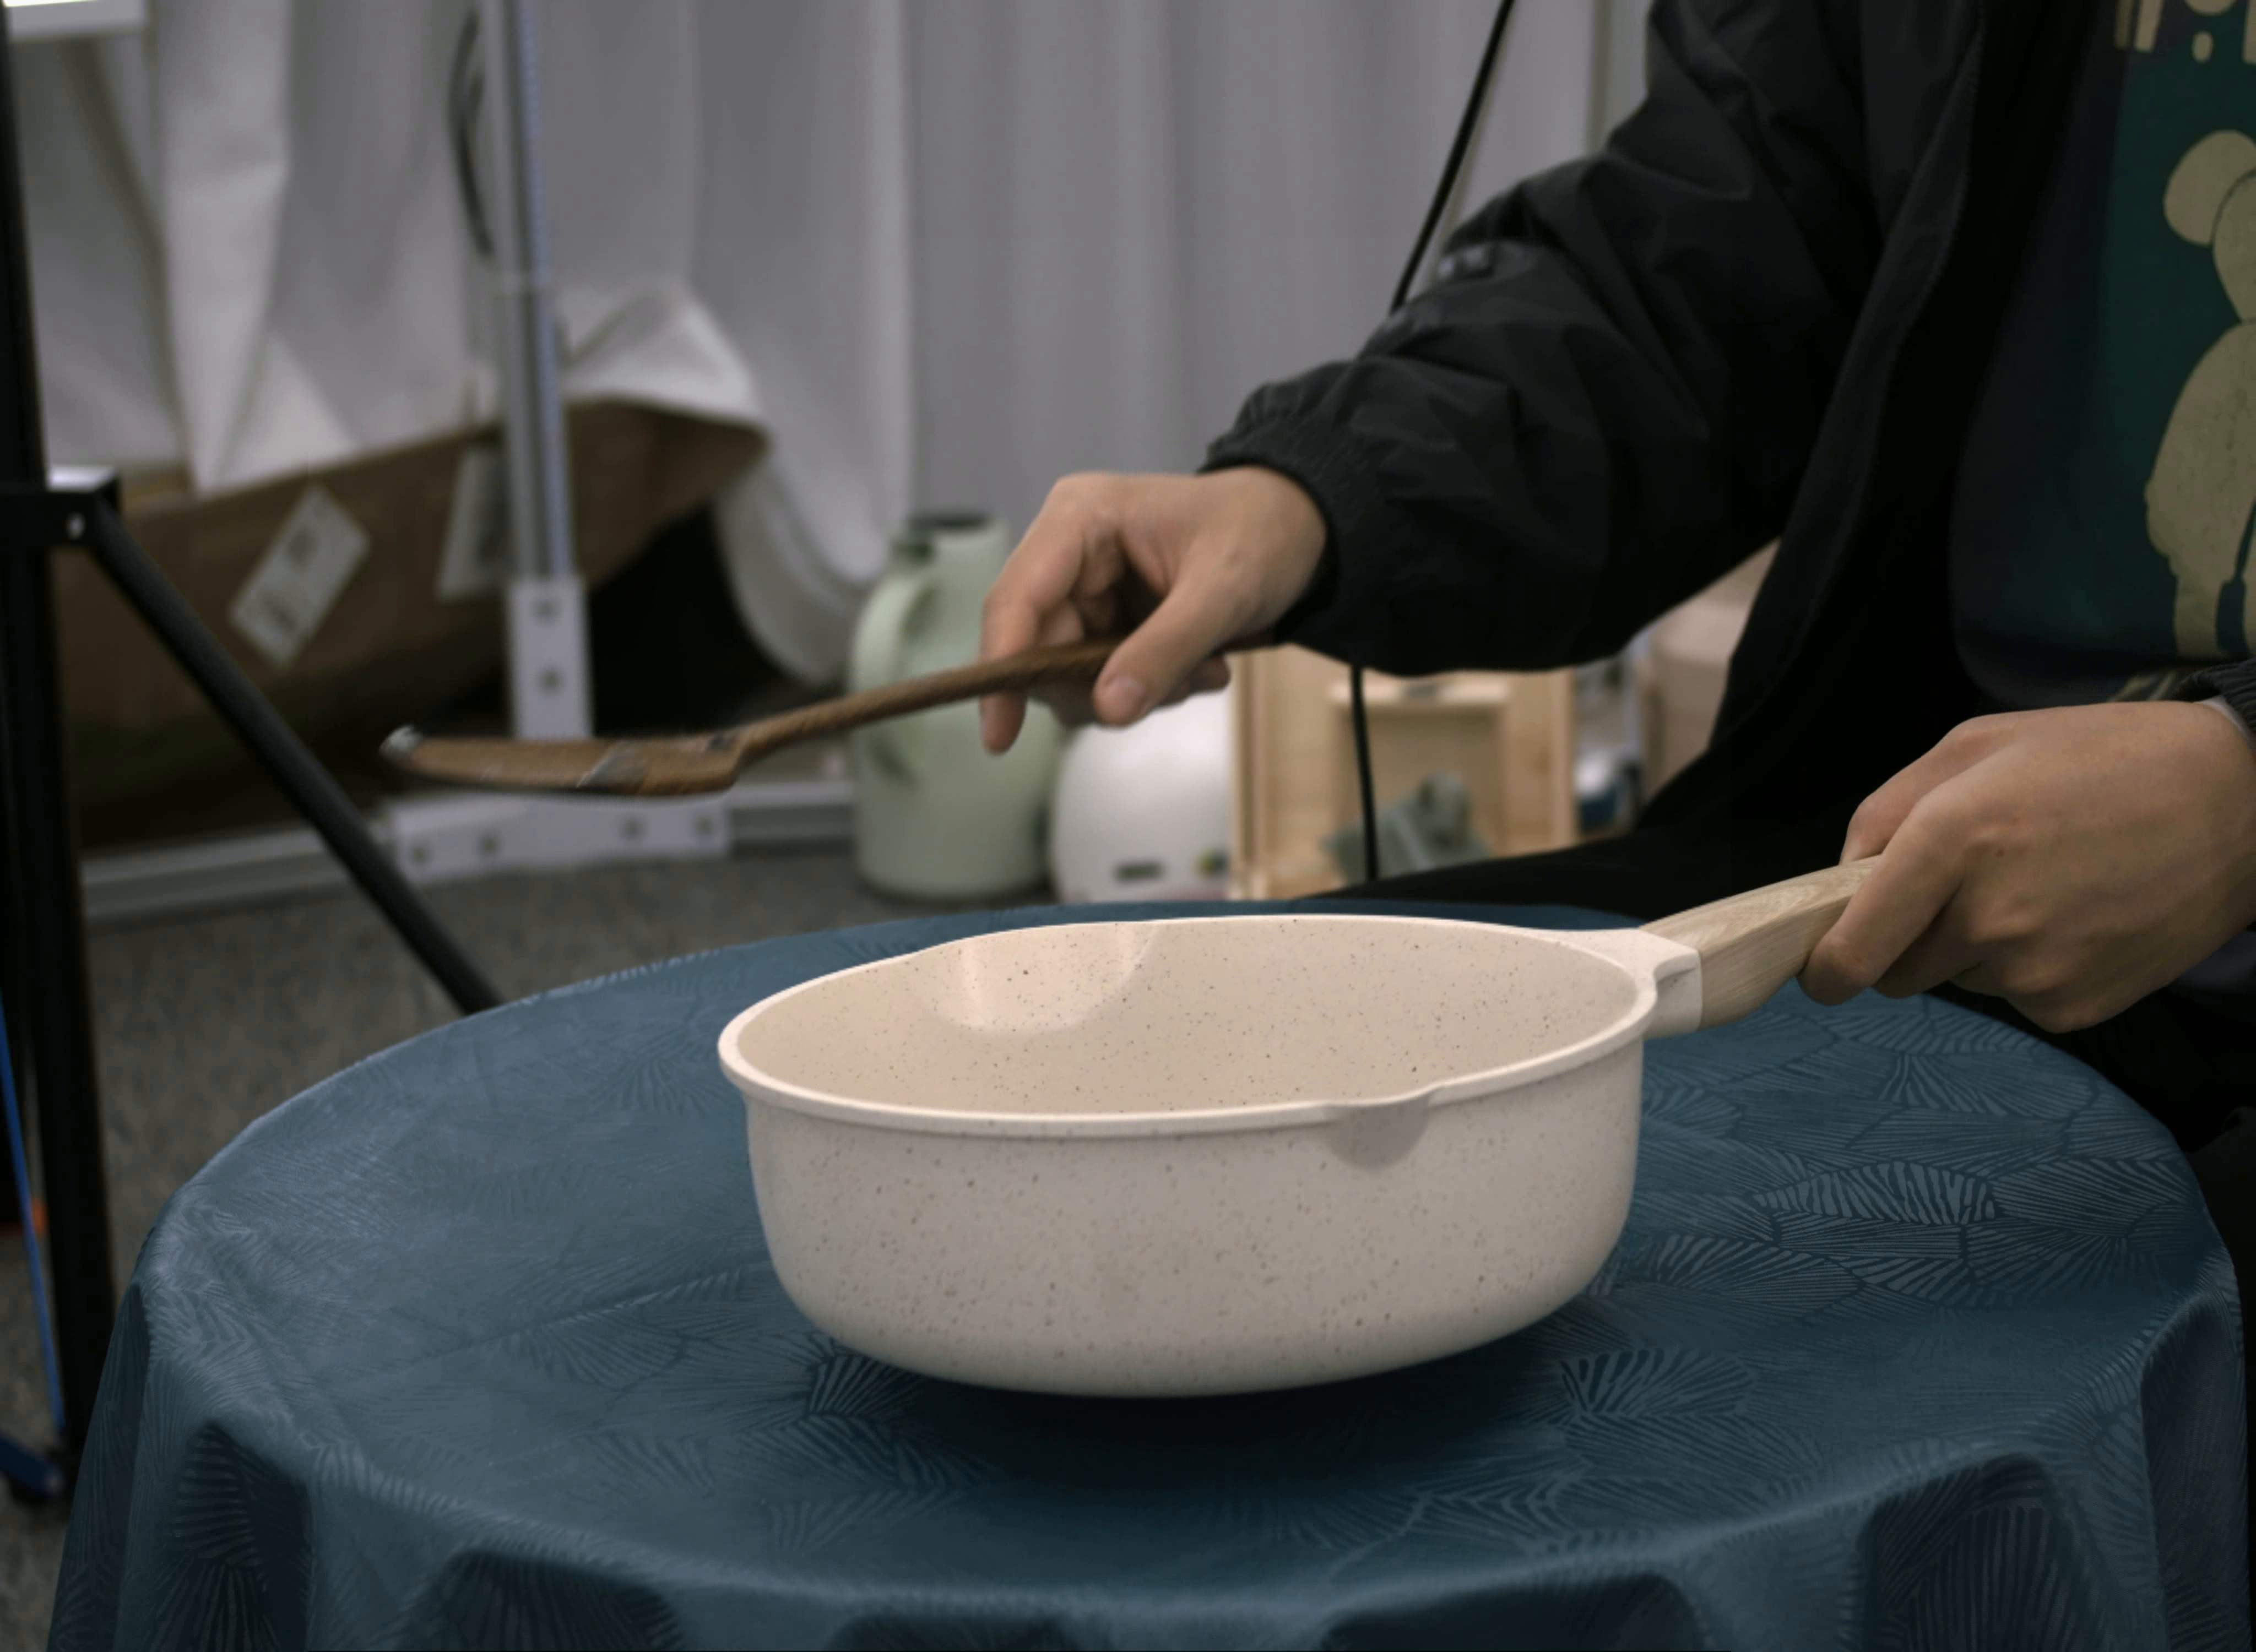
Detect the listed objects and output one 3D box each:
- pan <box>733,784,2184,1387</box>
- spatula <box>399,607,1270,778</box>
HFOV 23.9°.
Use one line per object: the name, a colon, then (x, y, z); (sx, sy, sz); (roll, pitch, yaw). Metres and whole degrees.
pan: (0.106, 0.067, 1.442); (0.427, 0.102, 0.268); (-8, 9, -20)
spatula: (-0.070, -0.044, 1.659); (0.098, 0.016, 0.377); (8, 13, 36)
